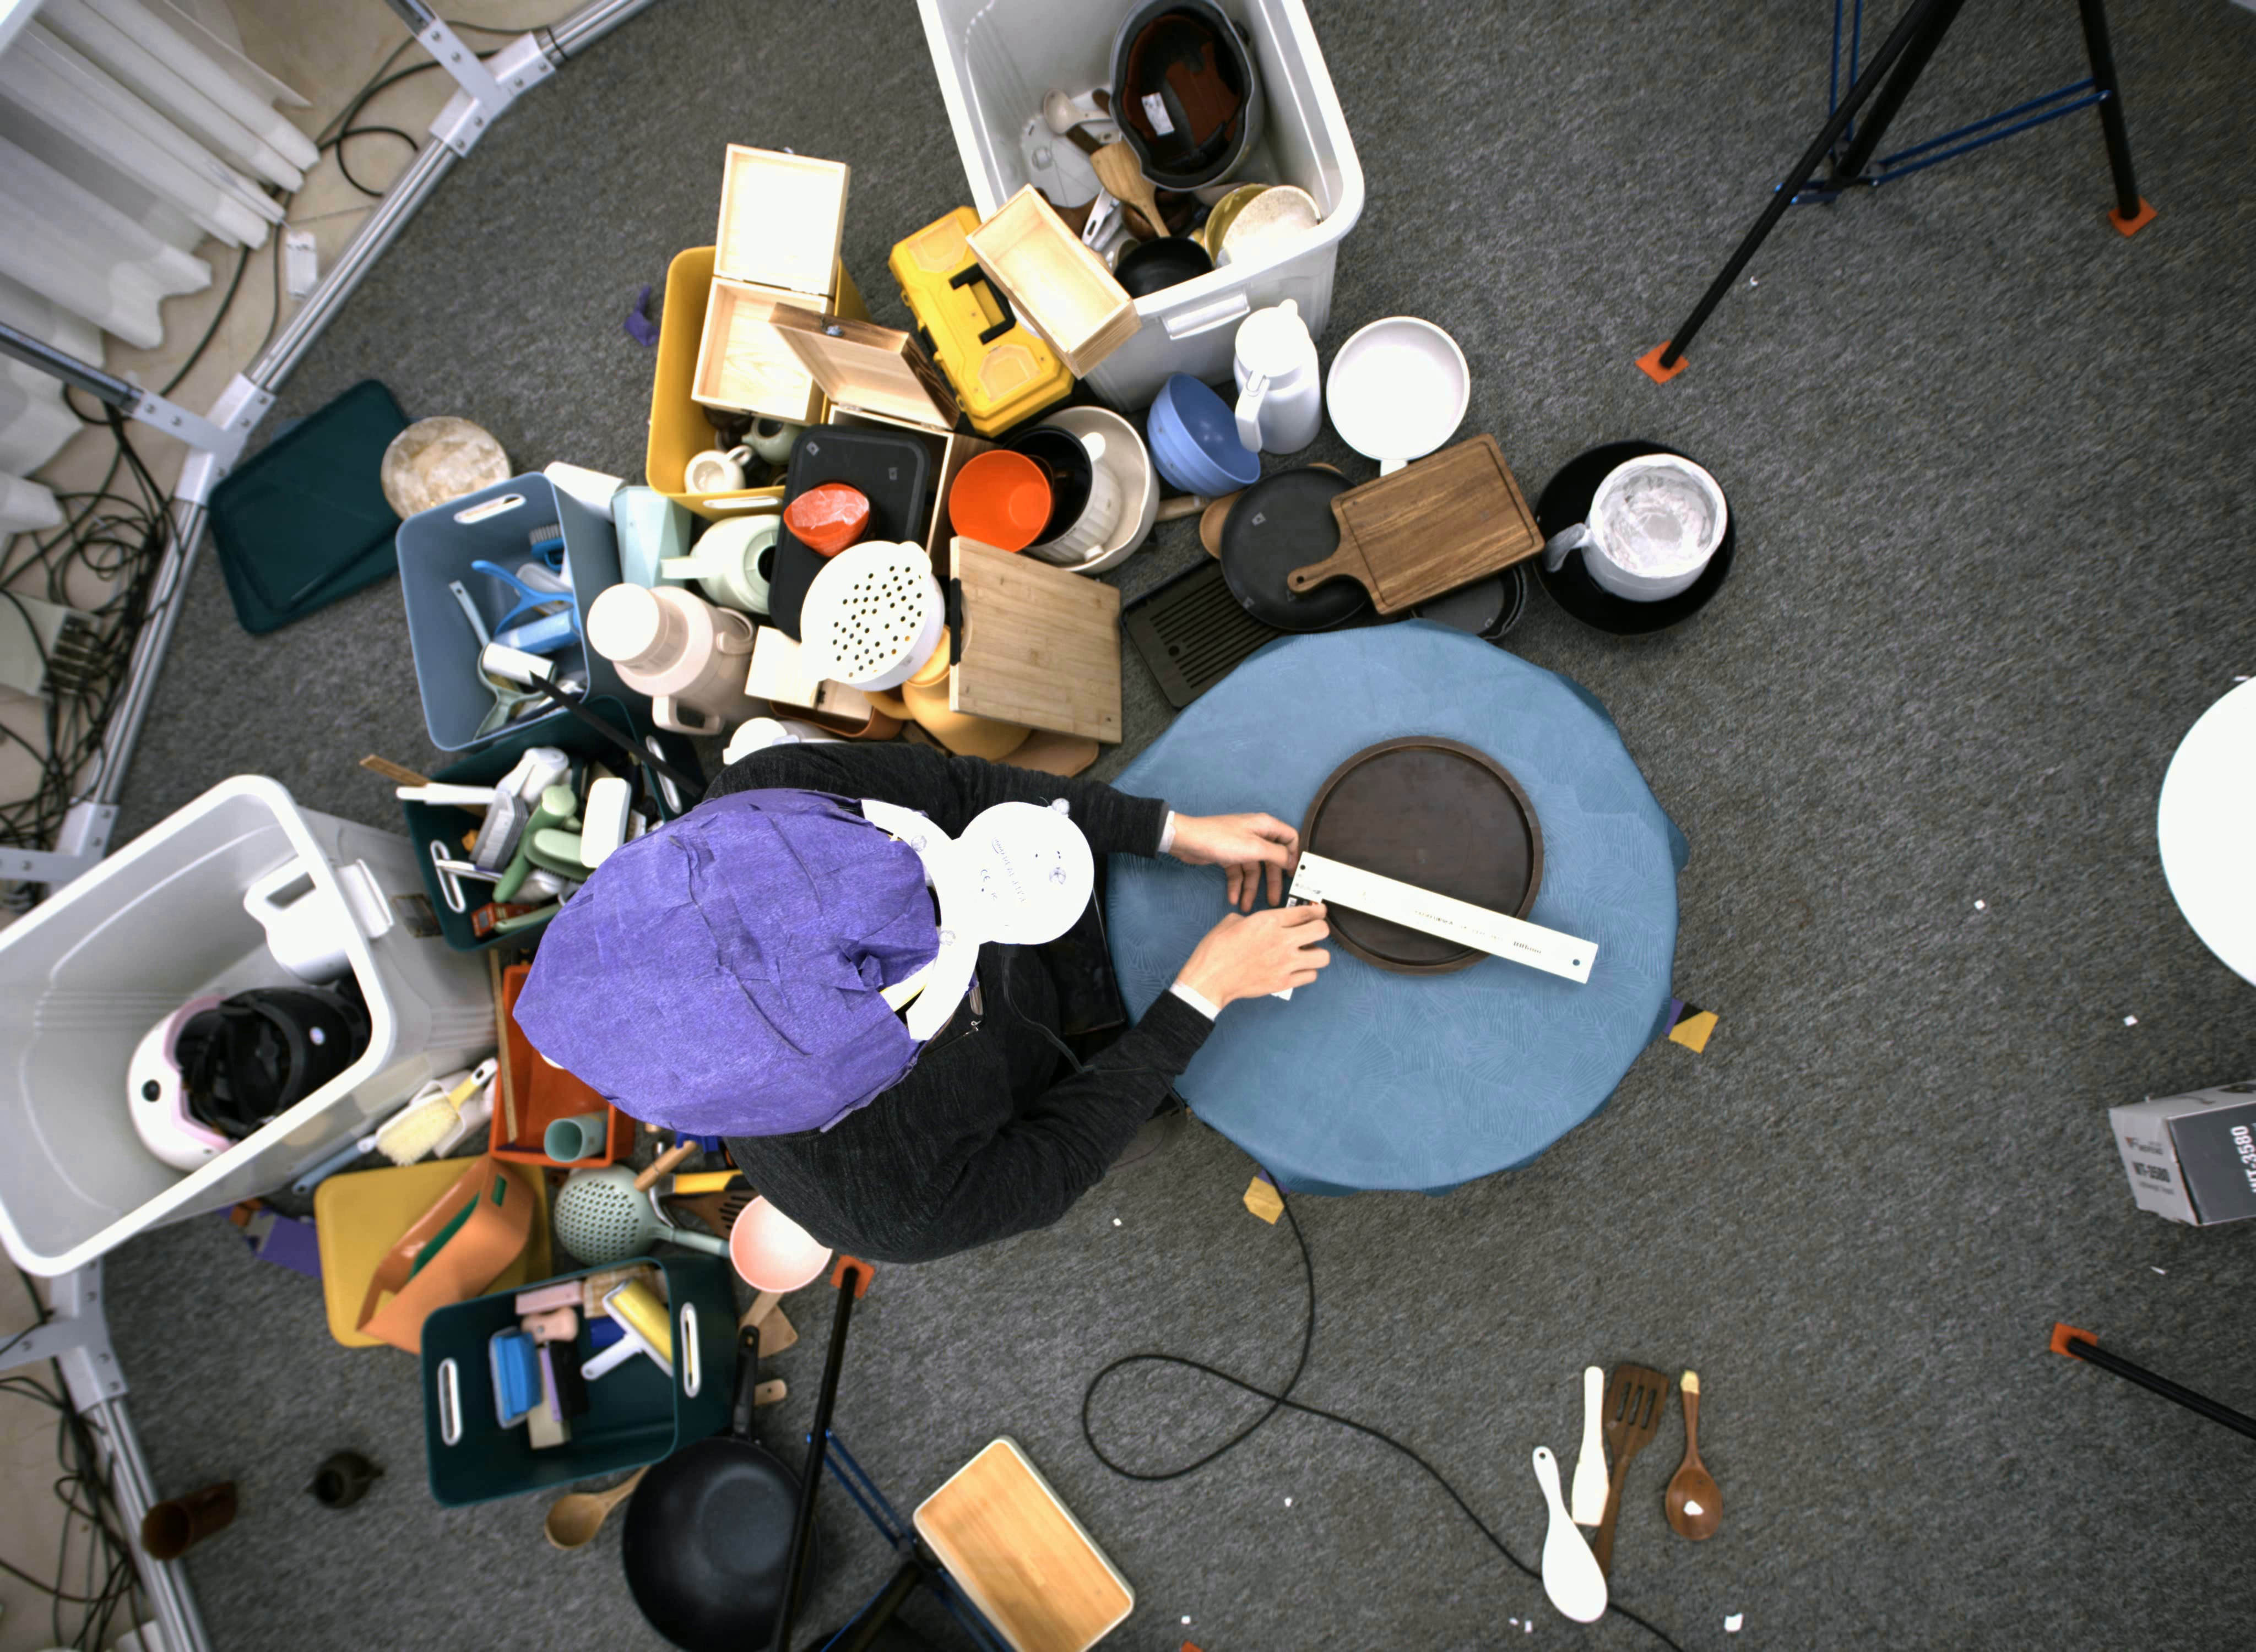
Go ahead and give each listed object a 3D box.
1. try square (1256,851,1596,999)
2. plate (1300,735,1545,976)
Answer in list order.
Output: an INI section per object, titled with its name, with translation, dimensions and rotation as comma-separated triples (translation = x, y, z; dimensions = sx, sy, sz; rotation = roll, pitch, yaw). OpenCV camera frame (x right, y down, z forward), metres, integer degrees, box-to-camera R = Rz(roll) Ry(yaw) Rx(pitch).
[try square]
translation = 0.300, 0.141, 1.406
dimensions = 0.313, 0.016, 0.152
rotation = 18, 93, 12
[plate]
translation = 0.306, 0.029, 1.444
dimensions = 0.256, 0.029, 0.253
rotation = -1, 86, 10
